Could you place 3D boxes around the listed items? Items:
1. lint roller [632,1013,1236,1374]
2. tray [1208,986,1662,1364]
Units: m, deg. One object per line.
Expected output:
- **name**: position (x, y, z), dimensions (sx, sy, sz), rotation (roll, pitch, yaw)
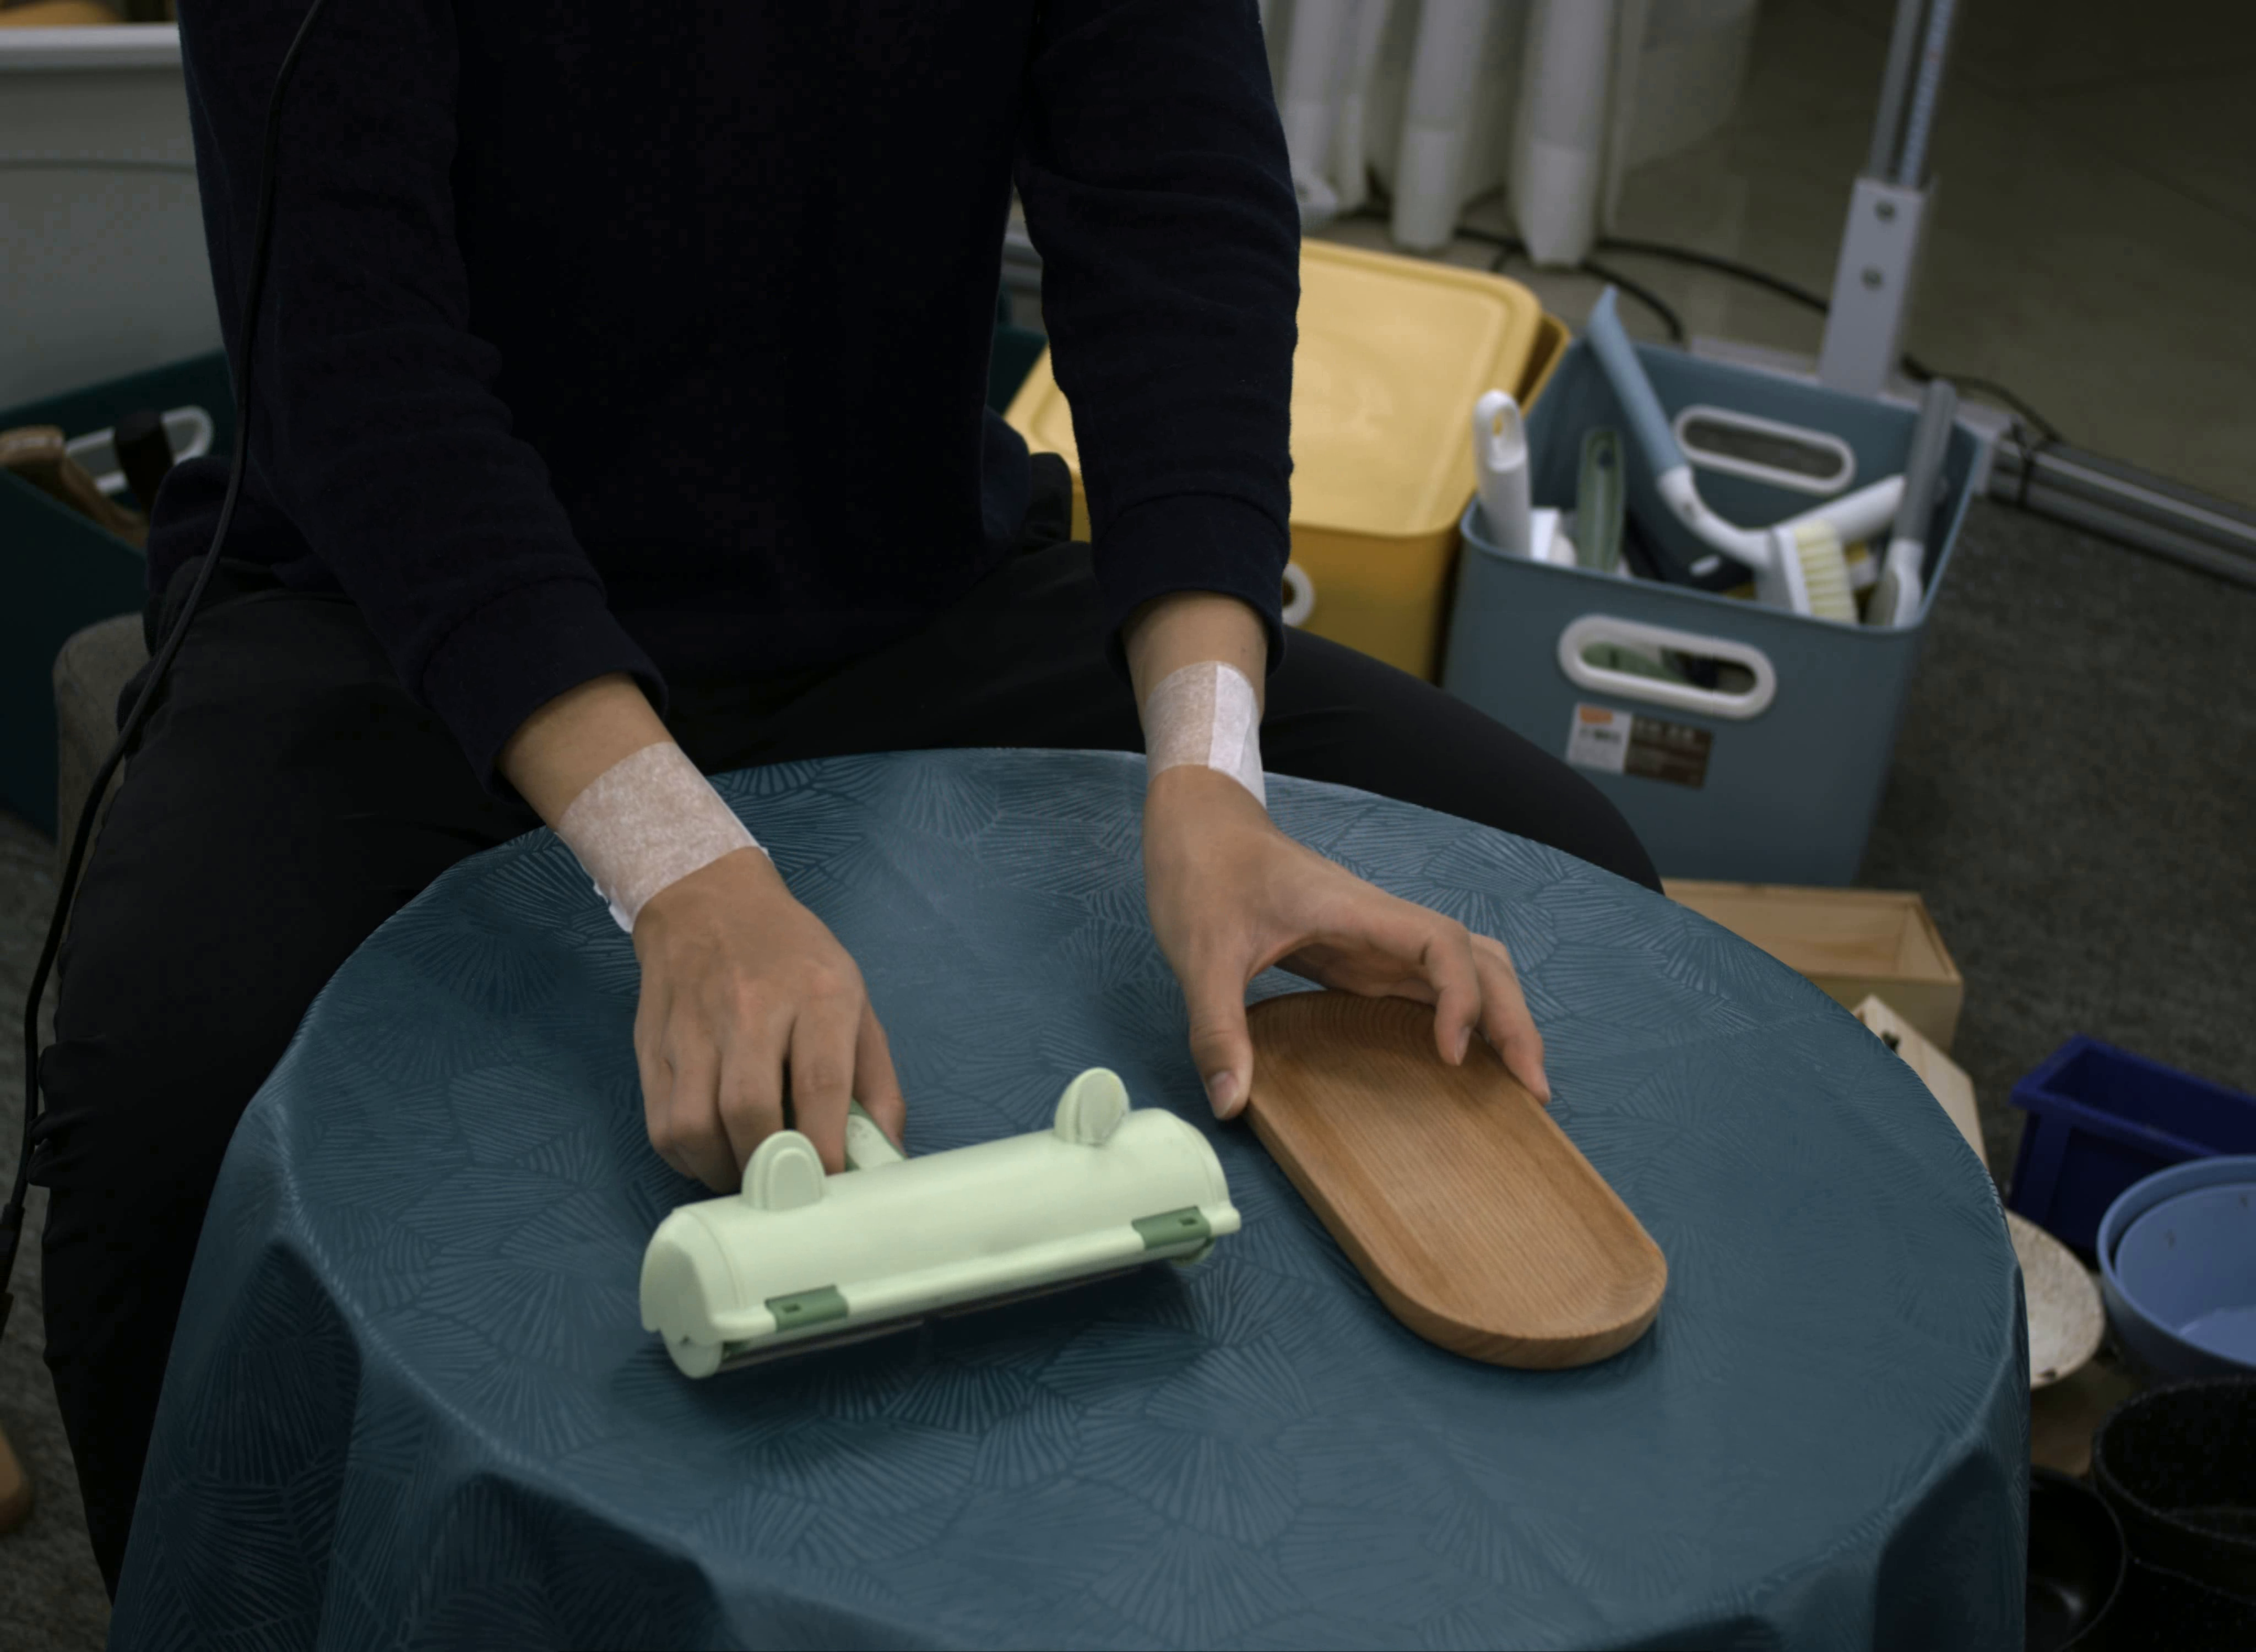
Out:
- **lint roller**: position (-0.089, 0.095, 1.738), dimensions (0.197, 0.082, 0.185), rotation (-10, 39, -31)
- **tray**: position (0.102, 0.117, 1.821), dimensions (0.101, 0.020, 0.233), rotation (-5, 28, -21)
